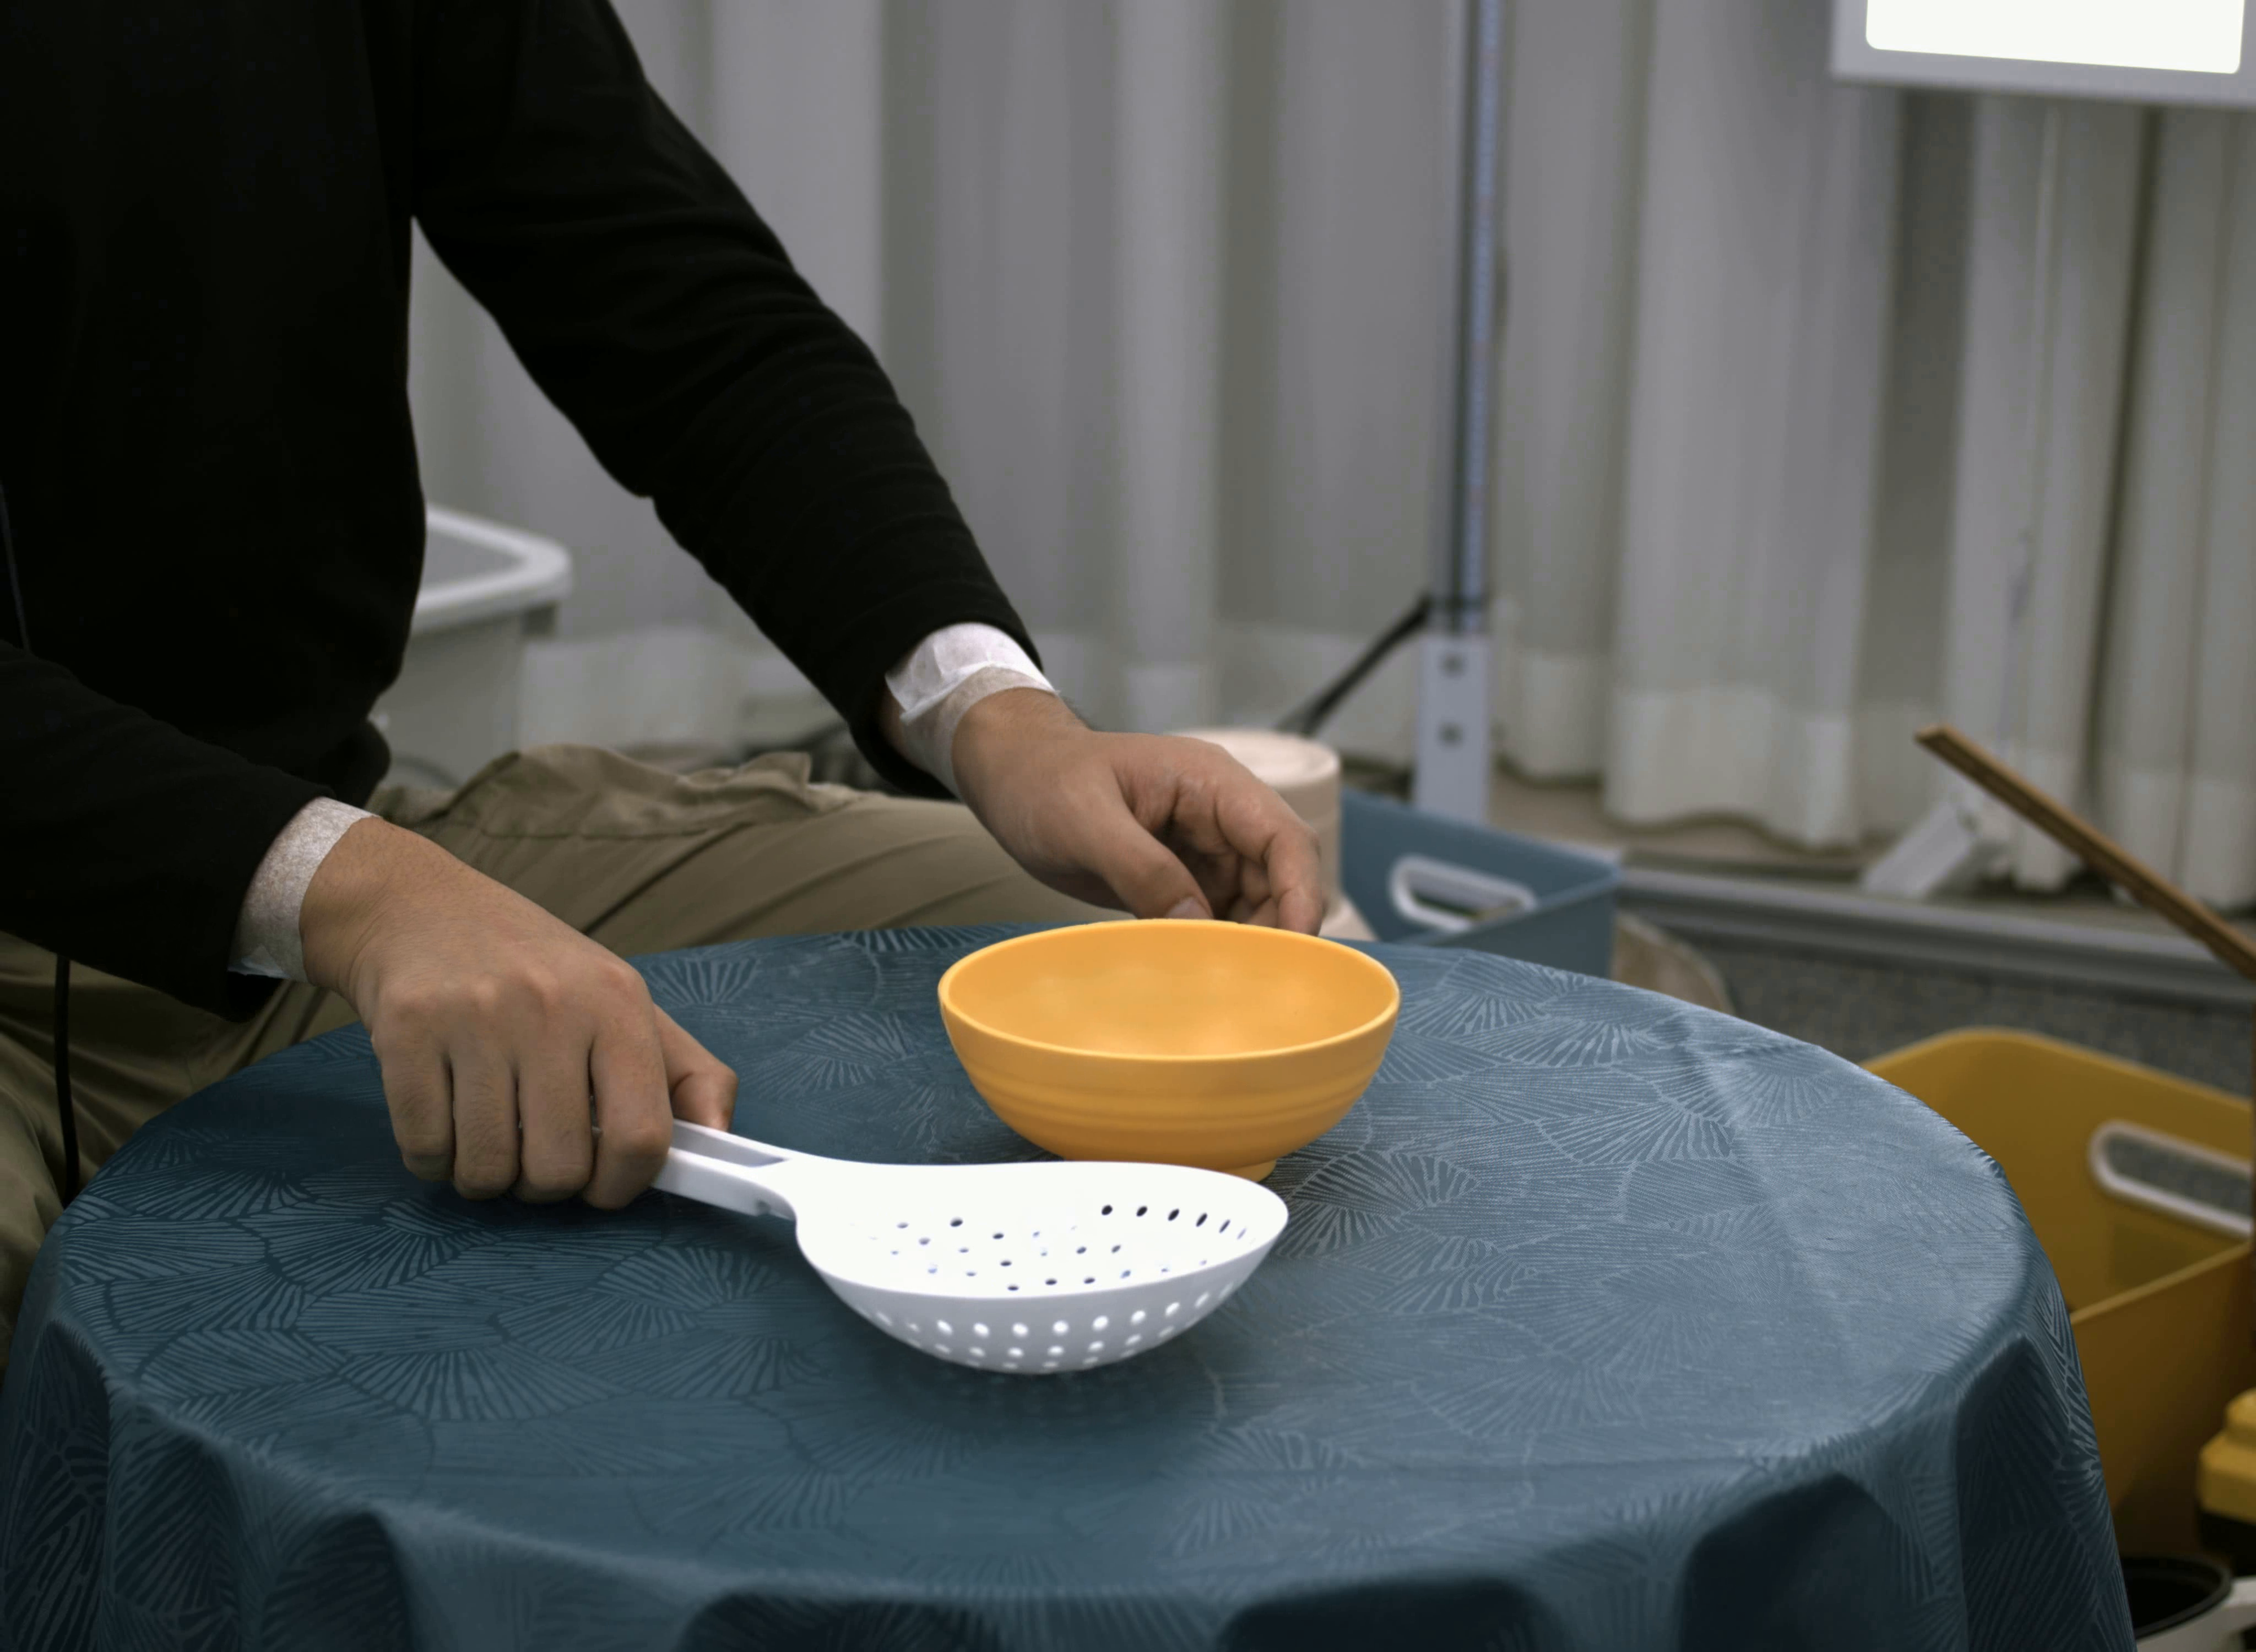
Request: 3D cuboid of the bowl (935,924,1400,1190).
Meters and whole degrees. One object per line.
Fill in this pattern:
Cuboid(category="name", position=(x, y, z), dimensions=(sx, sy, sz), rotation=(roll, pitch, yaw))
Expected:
Cuboid(category="bowl", position=(0.011, 0.078, 1.638), dimensions=(0.145, 0.060, 0.144), rotation=(2, 15, 0))

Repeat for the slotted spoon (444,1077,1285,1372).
Cuboid(category="slotted spoon", position=(-0.094, 0.107, 1.551), dimensions=(0.137, 0.046, 0.345), rotation=(-13, 20, -40))
